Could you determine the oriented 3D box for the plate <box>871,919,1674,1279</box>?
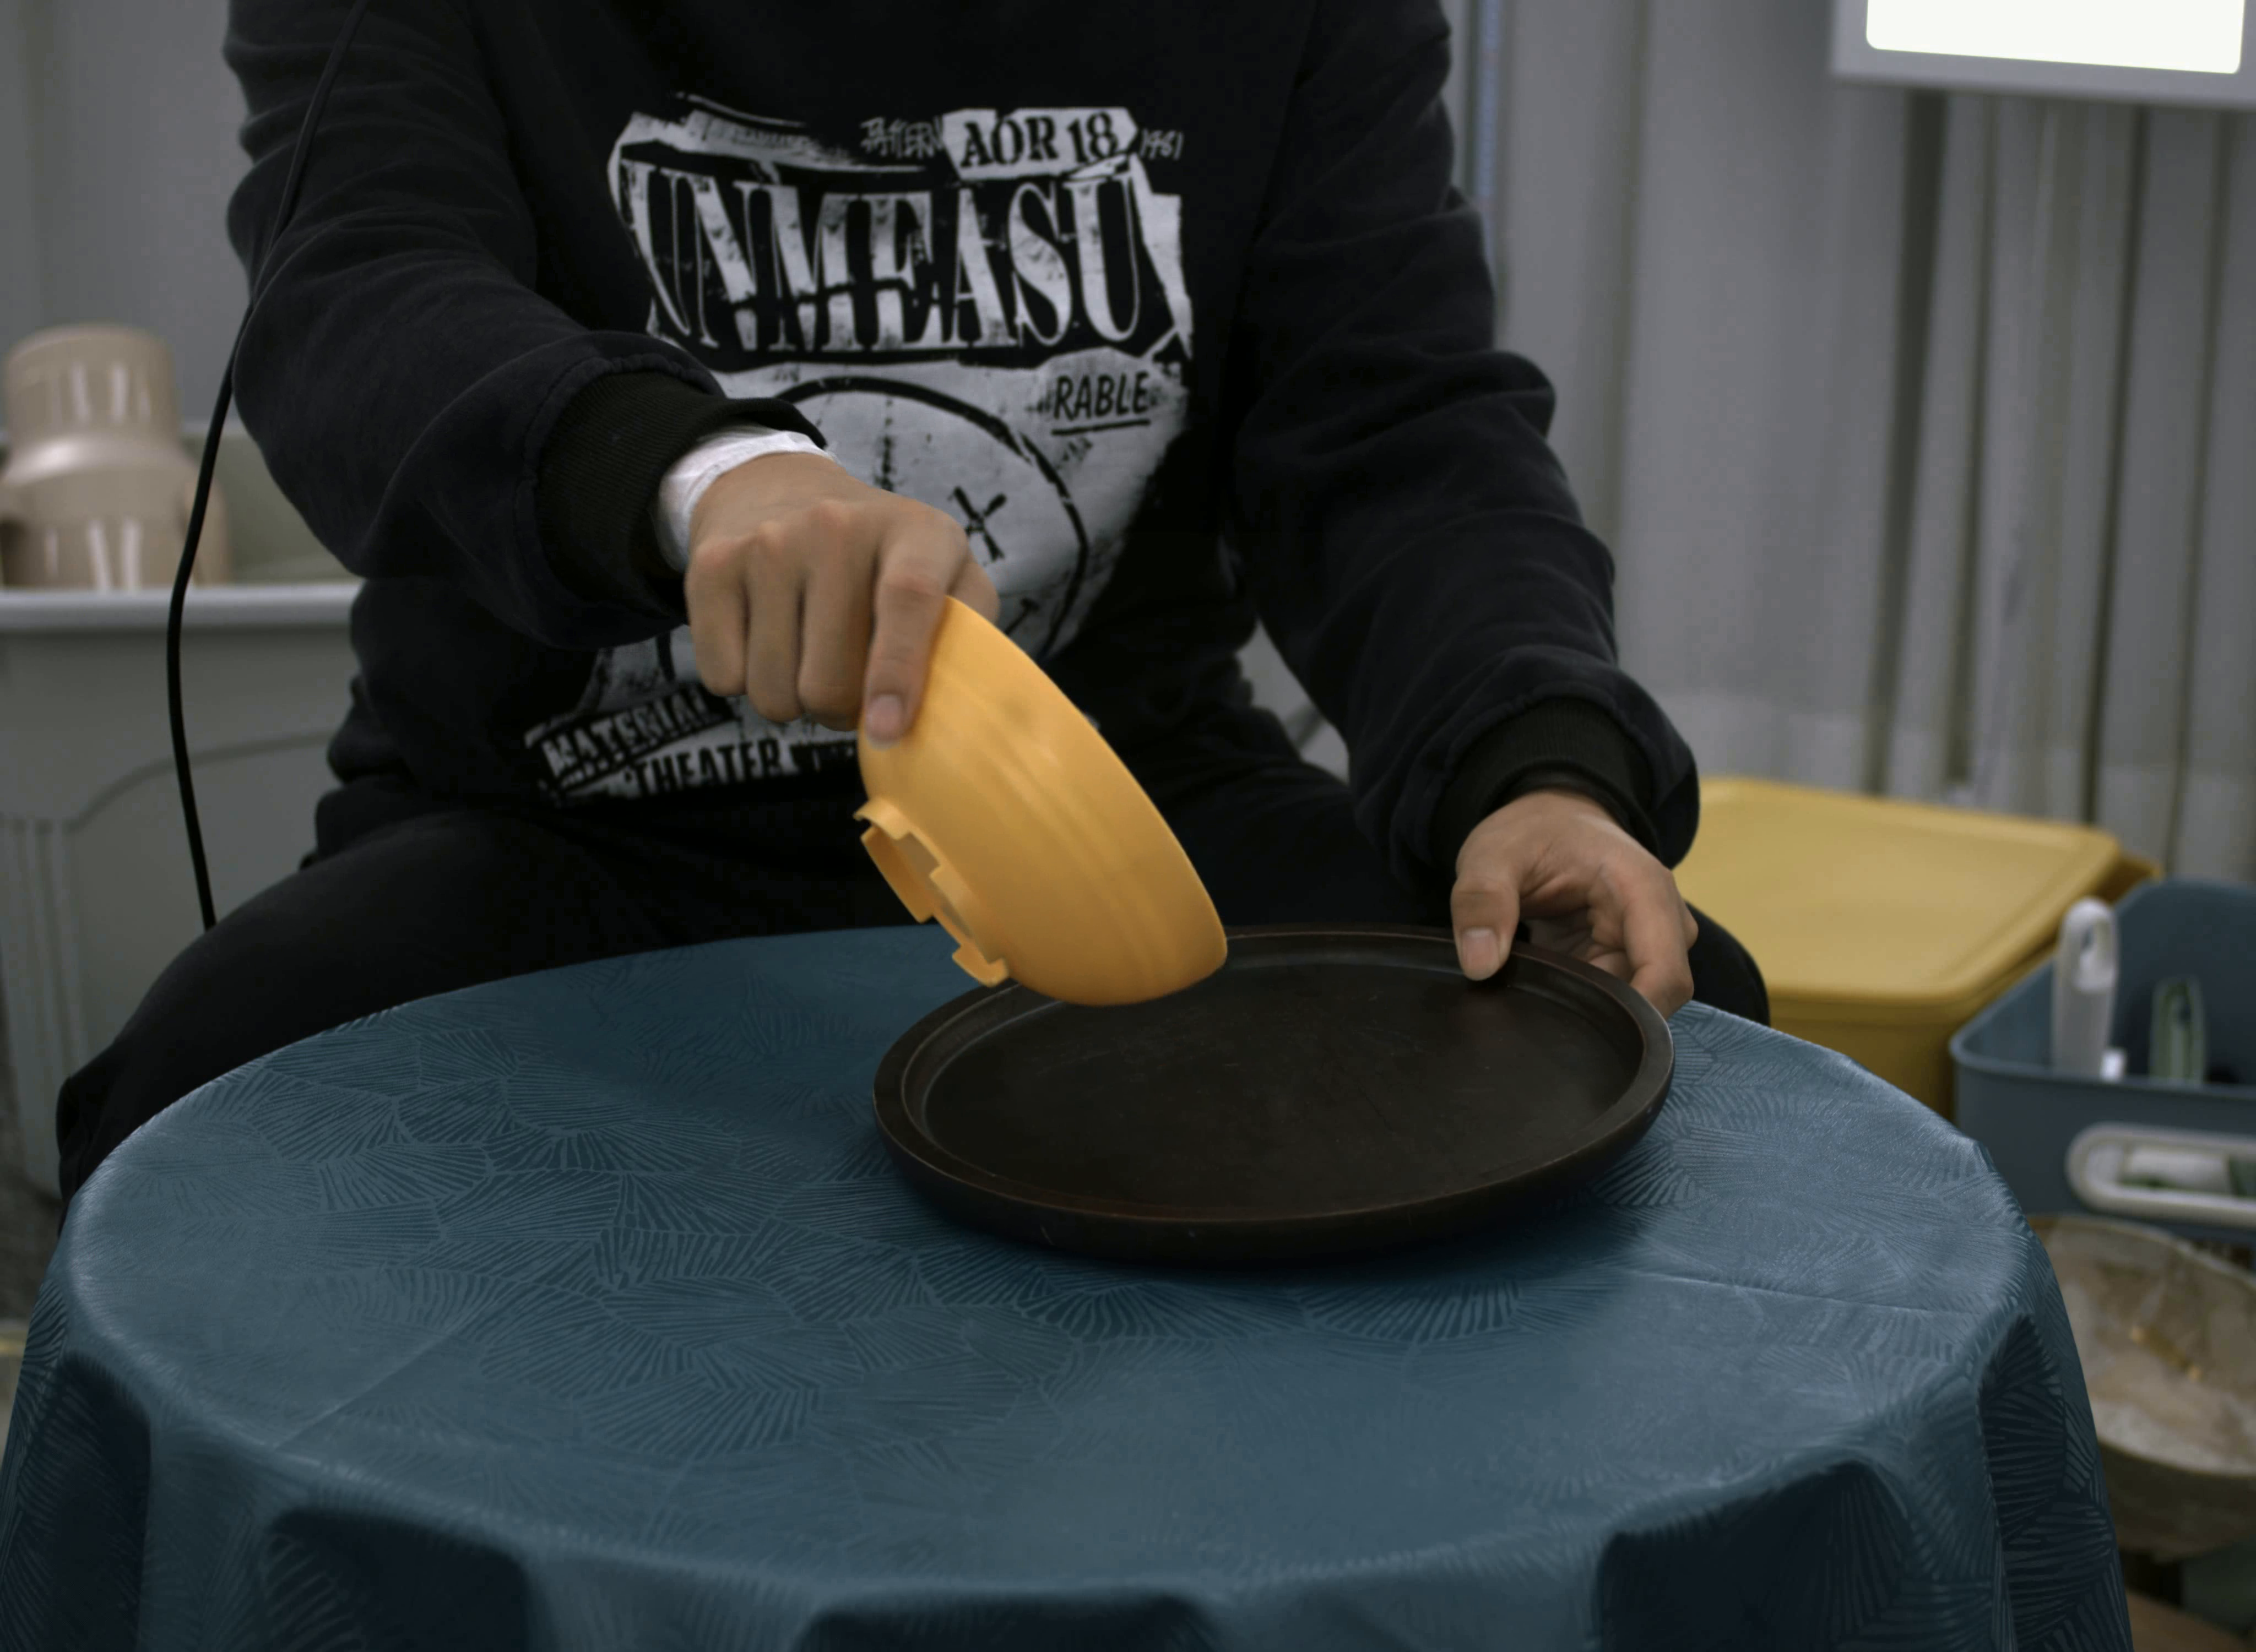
[{"bbox_3d":[0.046,0.083,1.656,0.254,0.029,0.253,-5,19,2],"label":"plate"}]

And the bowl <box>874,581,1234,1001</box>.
[{"bbox_3d":[-0.034,0.002,1.569,0.060,0.147,0.143,-37,26,-10],"label":"bowl"}]
